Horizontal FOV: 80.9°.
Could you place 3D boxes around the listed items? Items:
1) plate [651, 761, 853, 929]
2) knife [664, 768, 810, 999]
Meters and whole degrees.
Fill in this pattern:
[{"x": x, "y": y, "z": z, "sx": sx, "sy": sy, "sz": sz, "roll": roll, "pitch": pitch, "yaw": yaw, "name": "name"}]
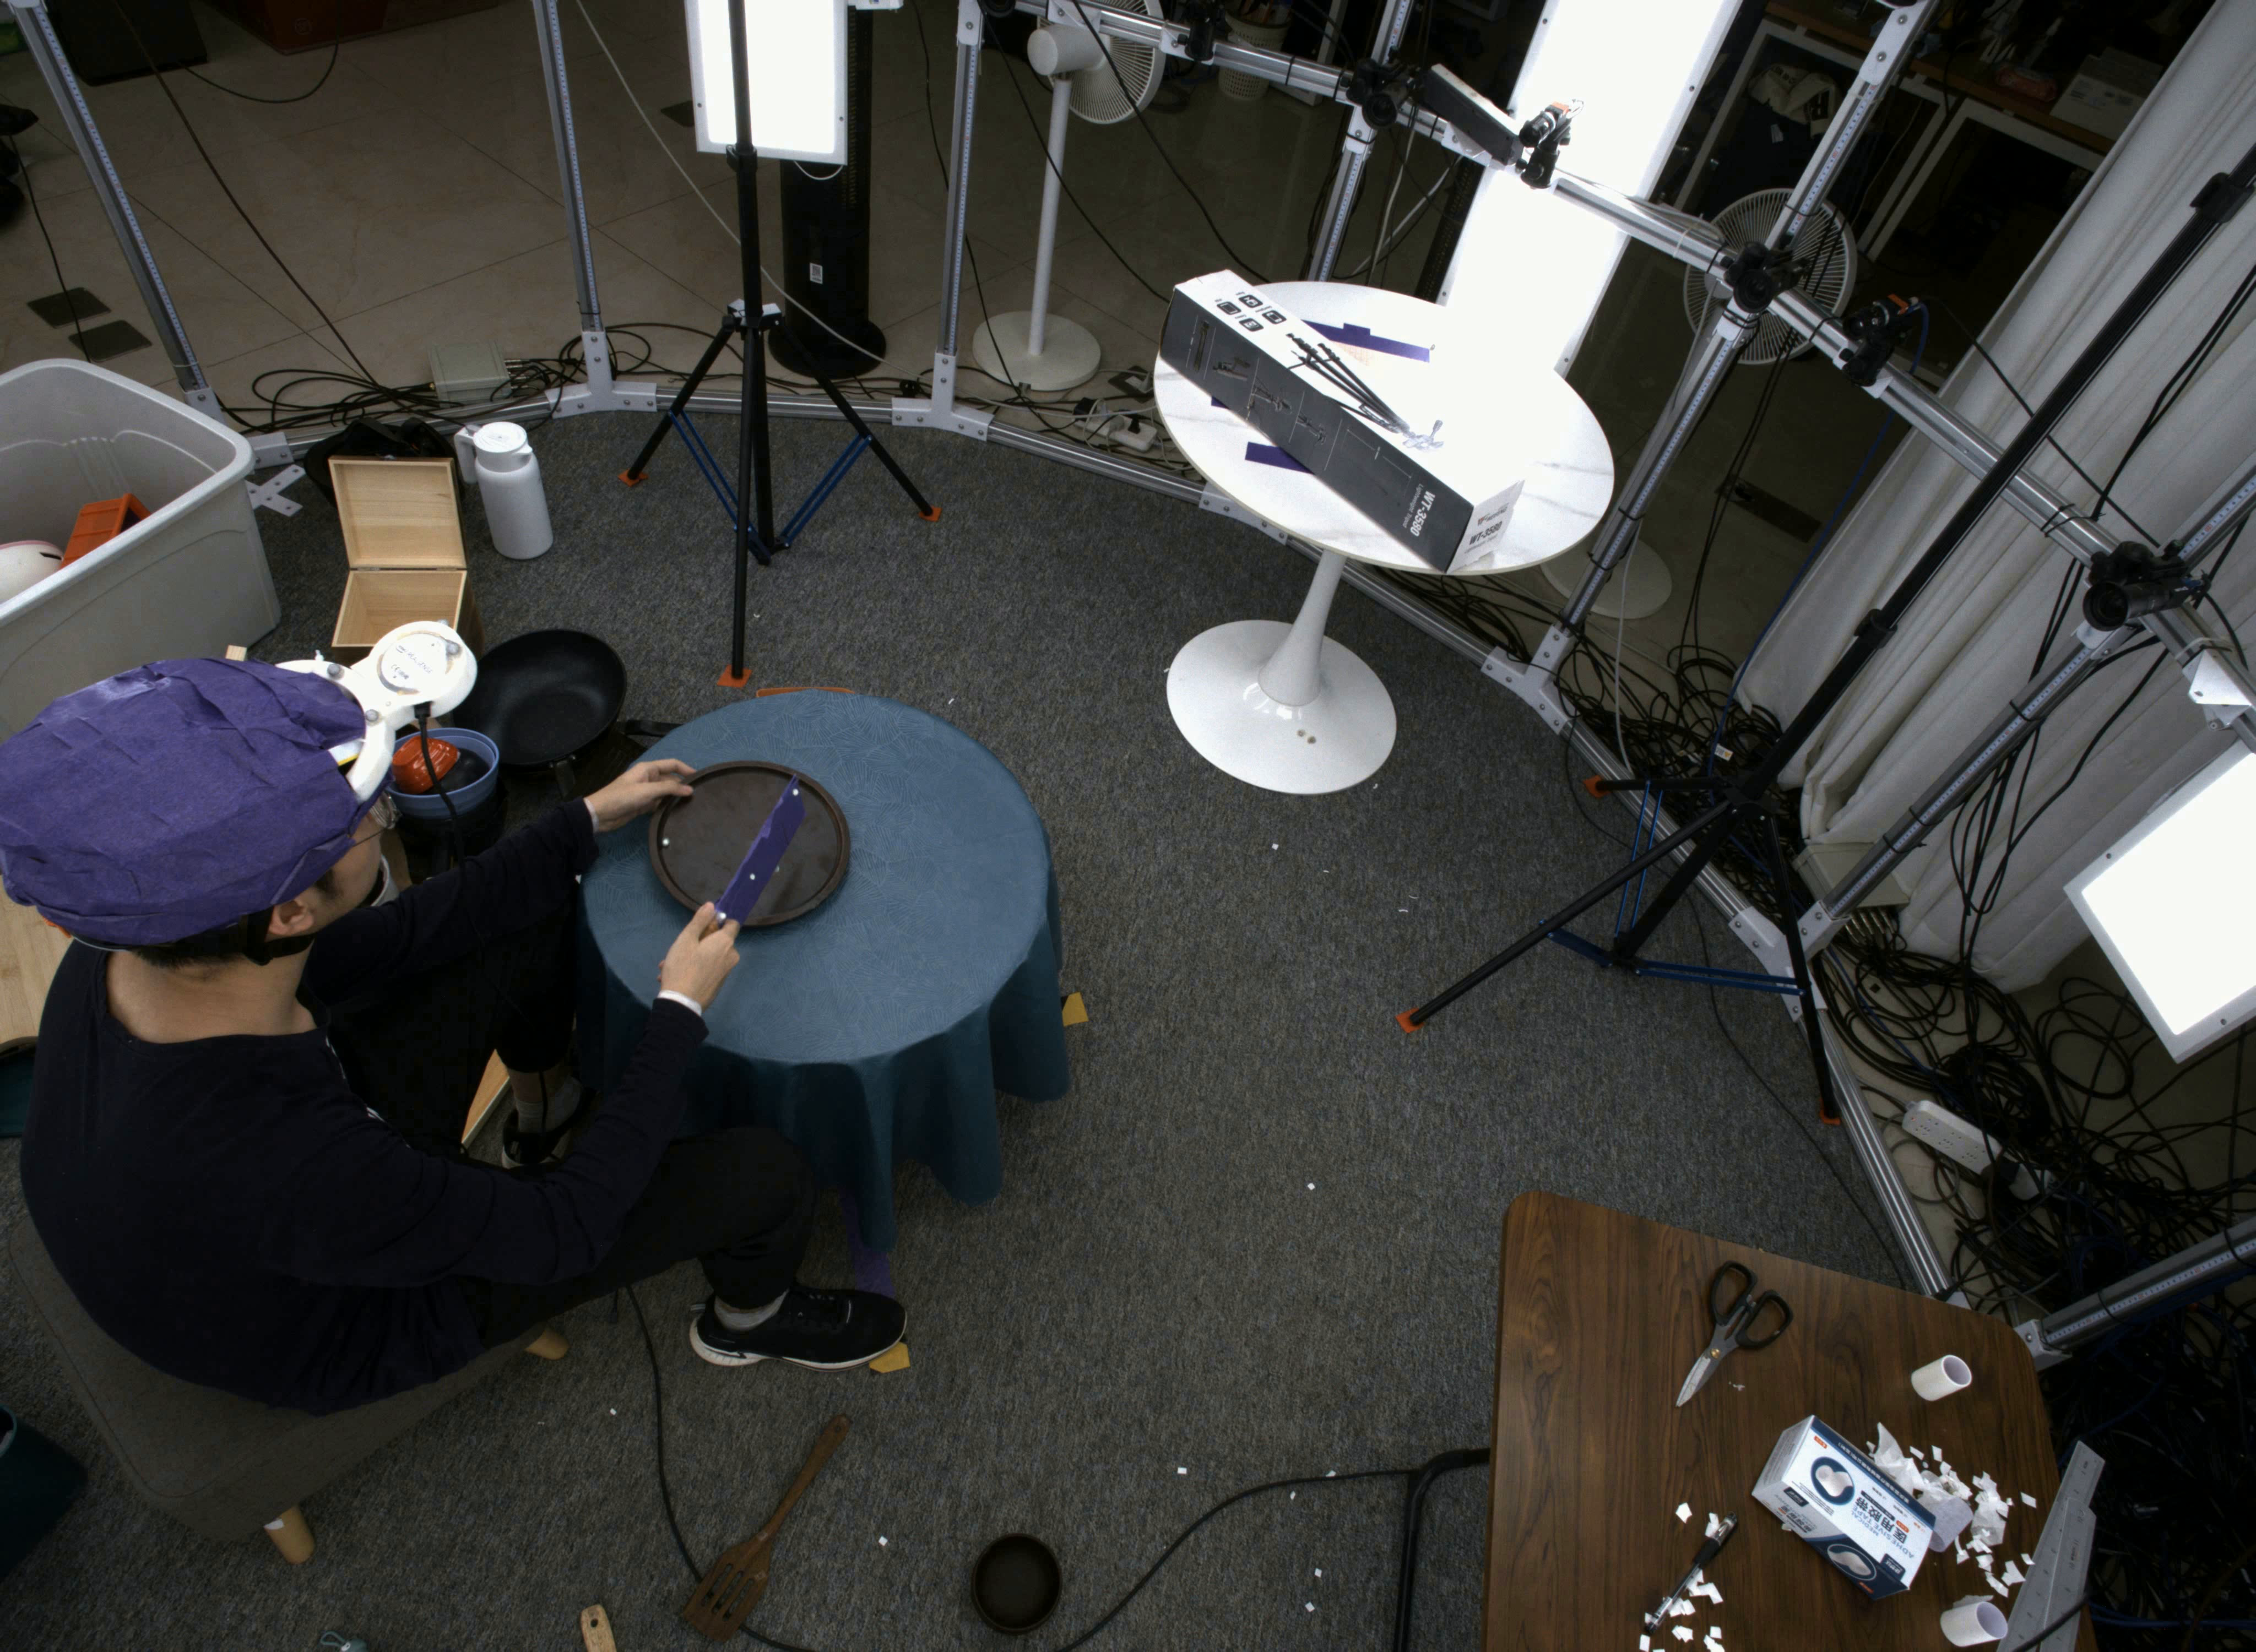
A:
[{"x": -0.485, "y": 0.022, "z": 1.672, "sx": 0.256, "sy": 0.029, "sz": 0.251, "roll": 12, "pitch": 55, "yaw": -15, "name": "plate"}, {"x": -0.452, "y": 0.078, "z": 1.535, "sx": 0.031, "sy": 0.106, "sz": 0.313, "roll": 18, "pitch": 58, "yaw": 9, "name": "knife"}]
